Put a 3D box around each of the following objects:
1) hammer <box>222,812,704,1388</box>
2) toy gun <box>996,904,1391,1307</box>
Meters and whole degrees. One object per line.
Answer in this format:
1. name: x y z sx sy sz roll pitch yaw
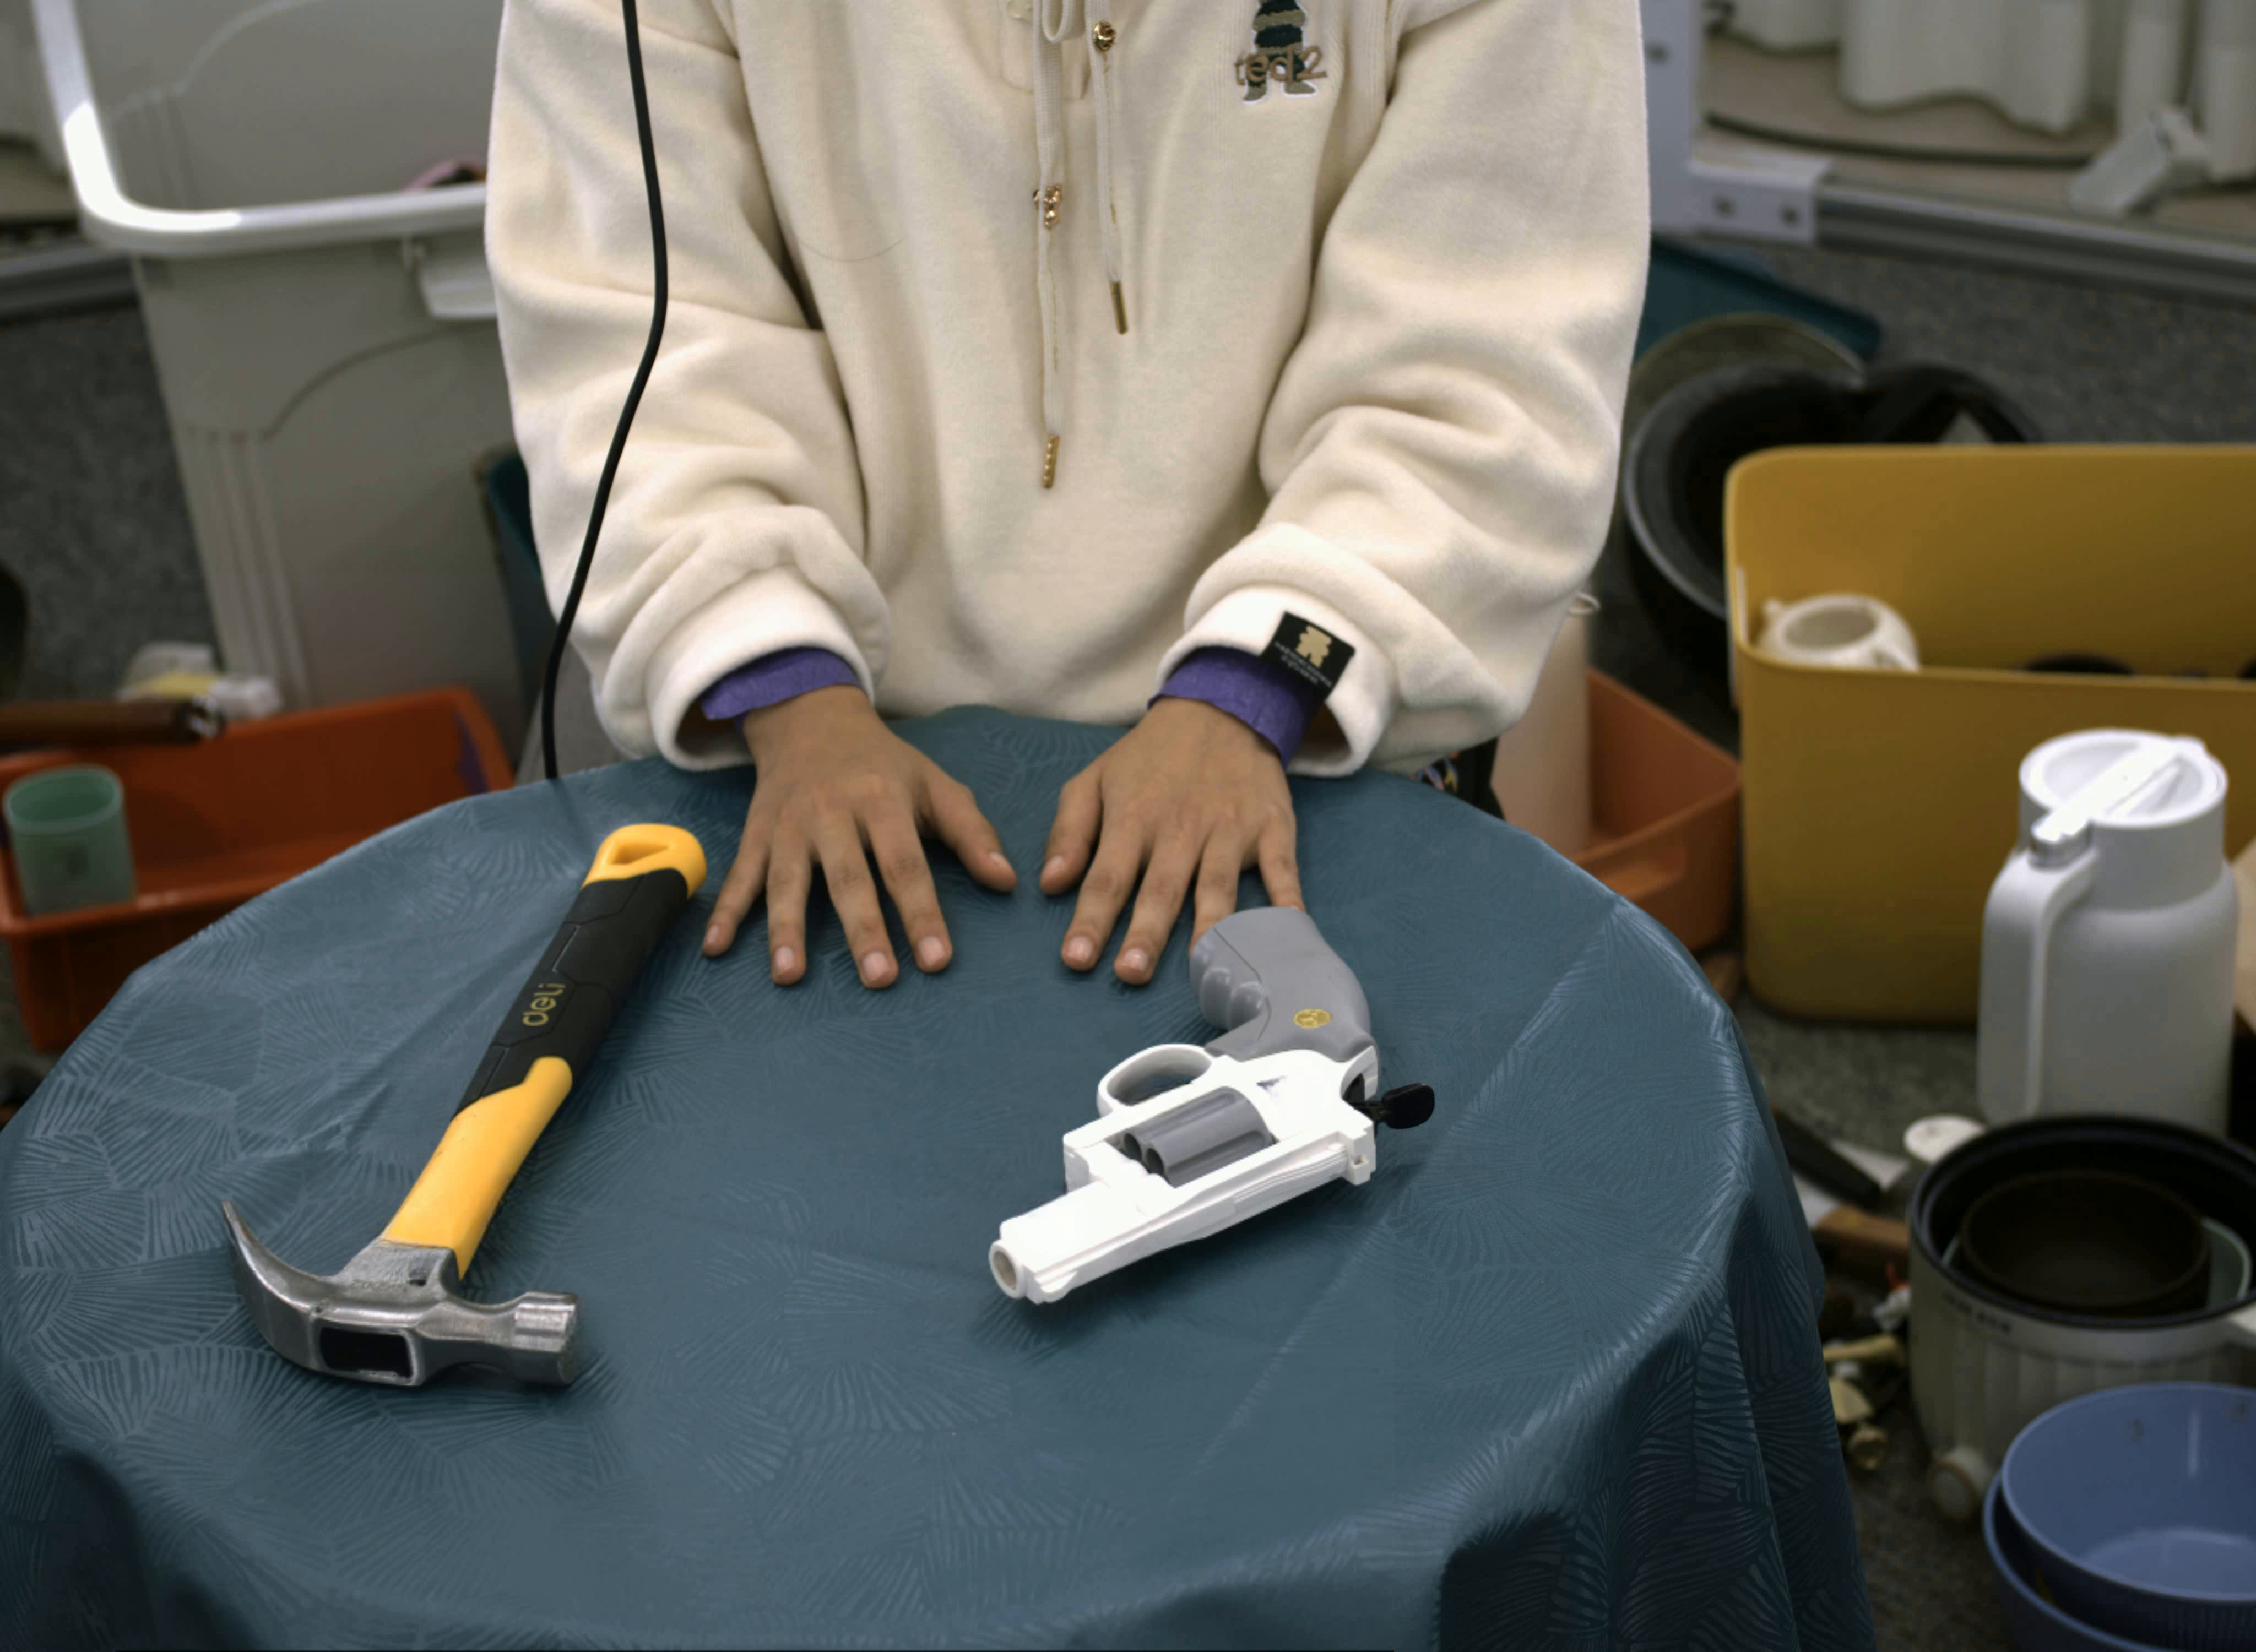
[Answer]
1. hammer: -0.206 0.085 1.913 0.130 0.032 0.344 1 29 12
2. toy gun: 0.016 0.092 1.874 0.211 0.038 0.142 -22 34 -32
